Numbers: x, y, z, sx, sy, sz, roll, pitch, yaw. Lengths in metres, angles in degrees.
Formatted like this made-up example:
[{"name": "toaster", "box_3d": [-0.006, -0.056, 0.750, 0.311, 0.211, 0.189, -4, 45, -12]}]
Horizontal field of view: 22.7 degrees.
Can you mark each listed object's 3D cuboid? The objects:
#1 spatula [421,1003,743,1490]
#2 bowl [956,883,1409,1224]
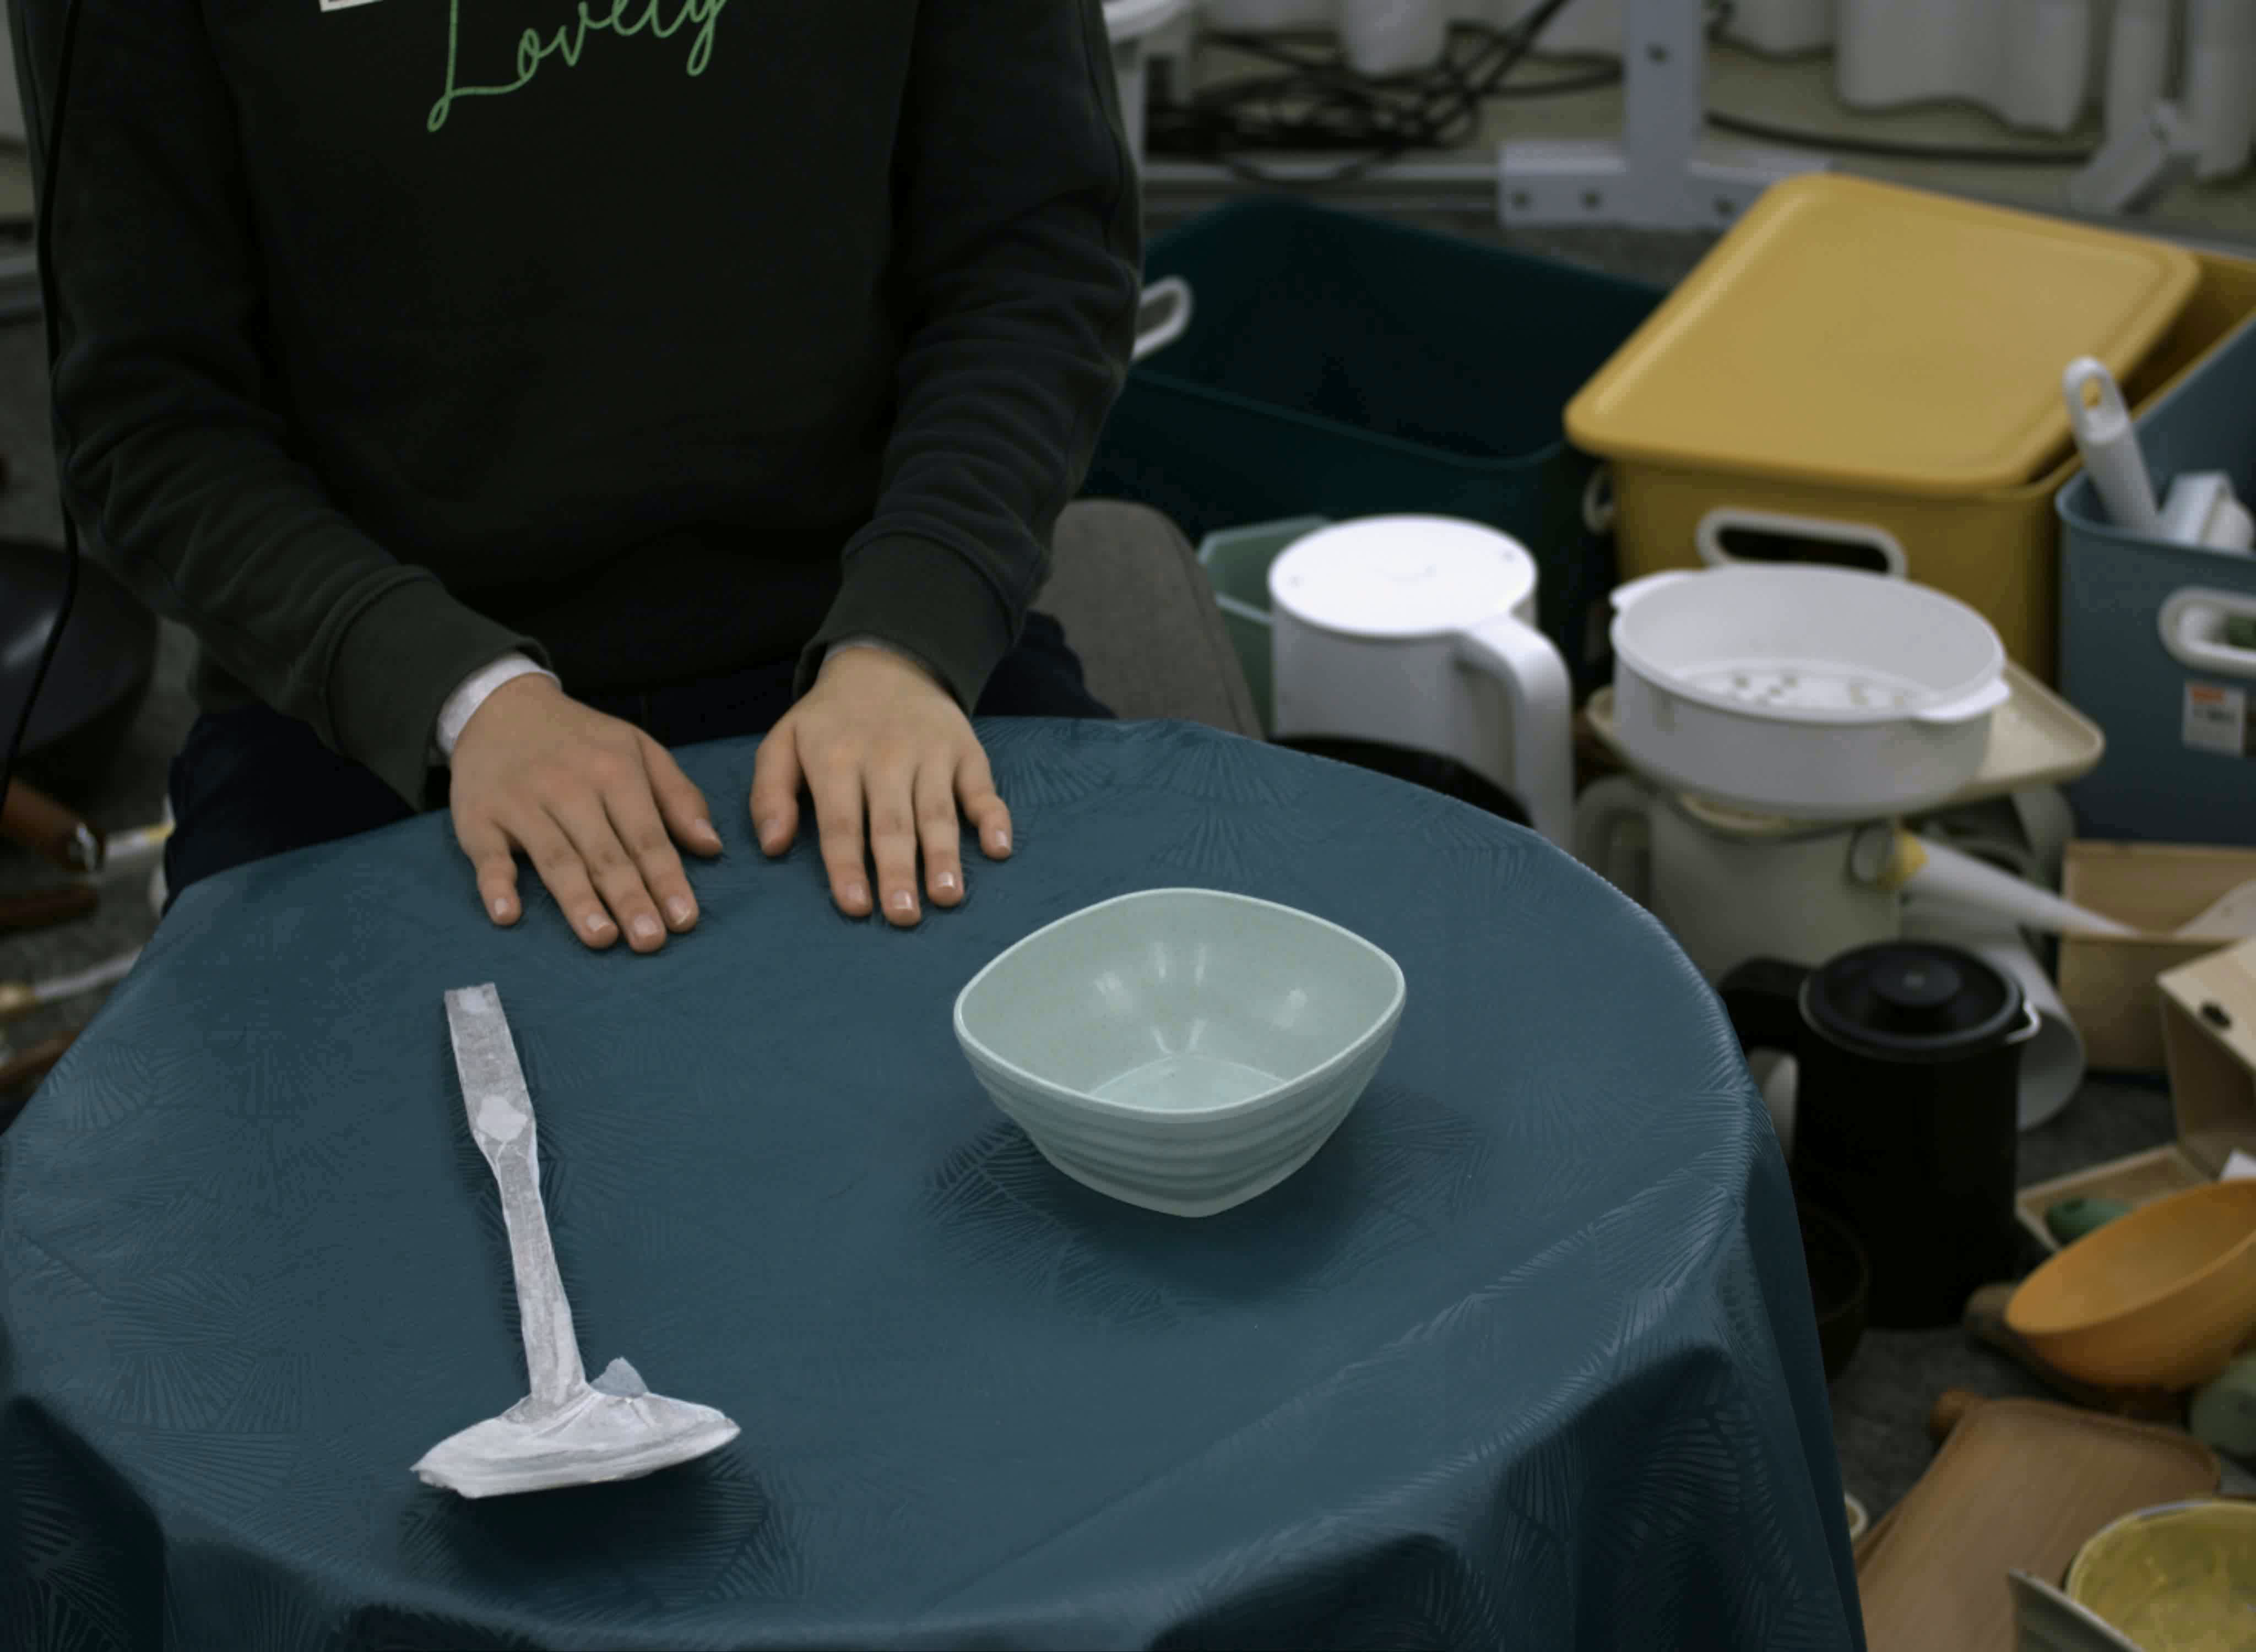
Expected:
[{"name": "spatula", "box_3d": [-0.191, 0.128, 1.825, 0.098, 0.044, 0.369, -9, 28, -7]}, {"name": "bowl", "box_3d": [0.019, 0.082, 1.877, 0.151, 0.058, 0.154, -1, 29, 1]}]
